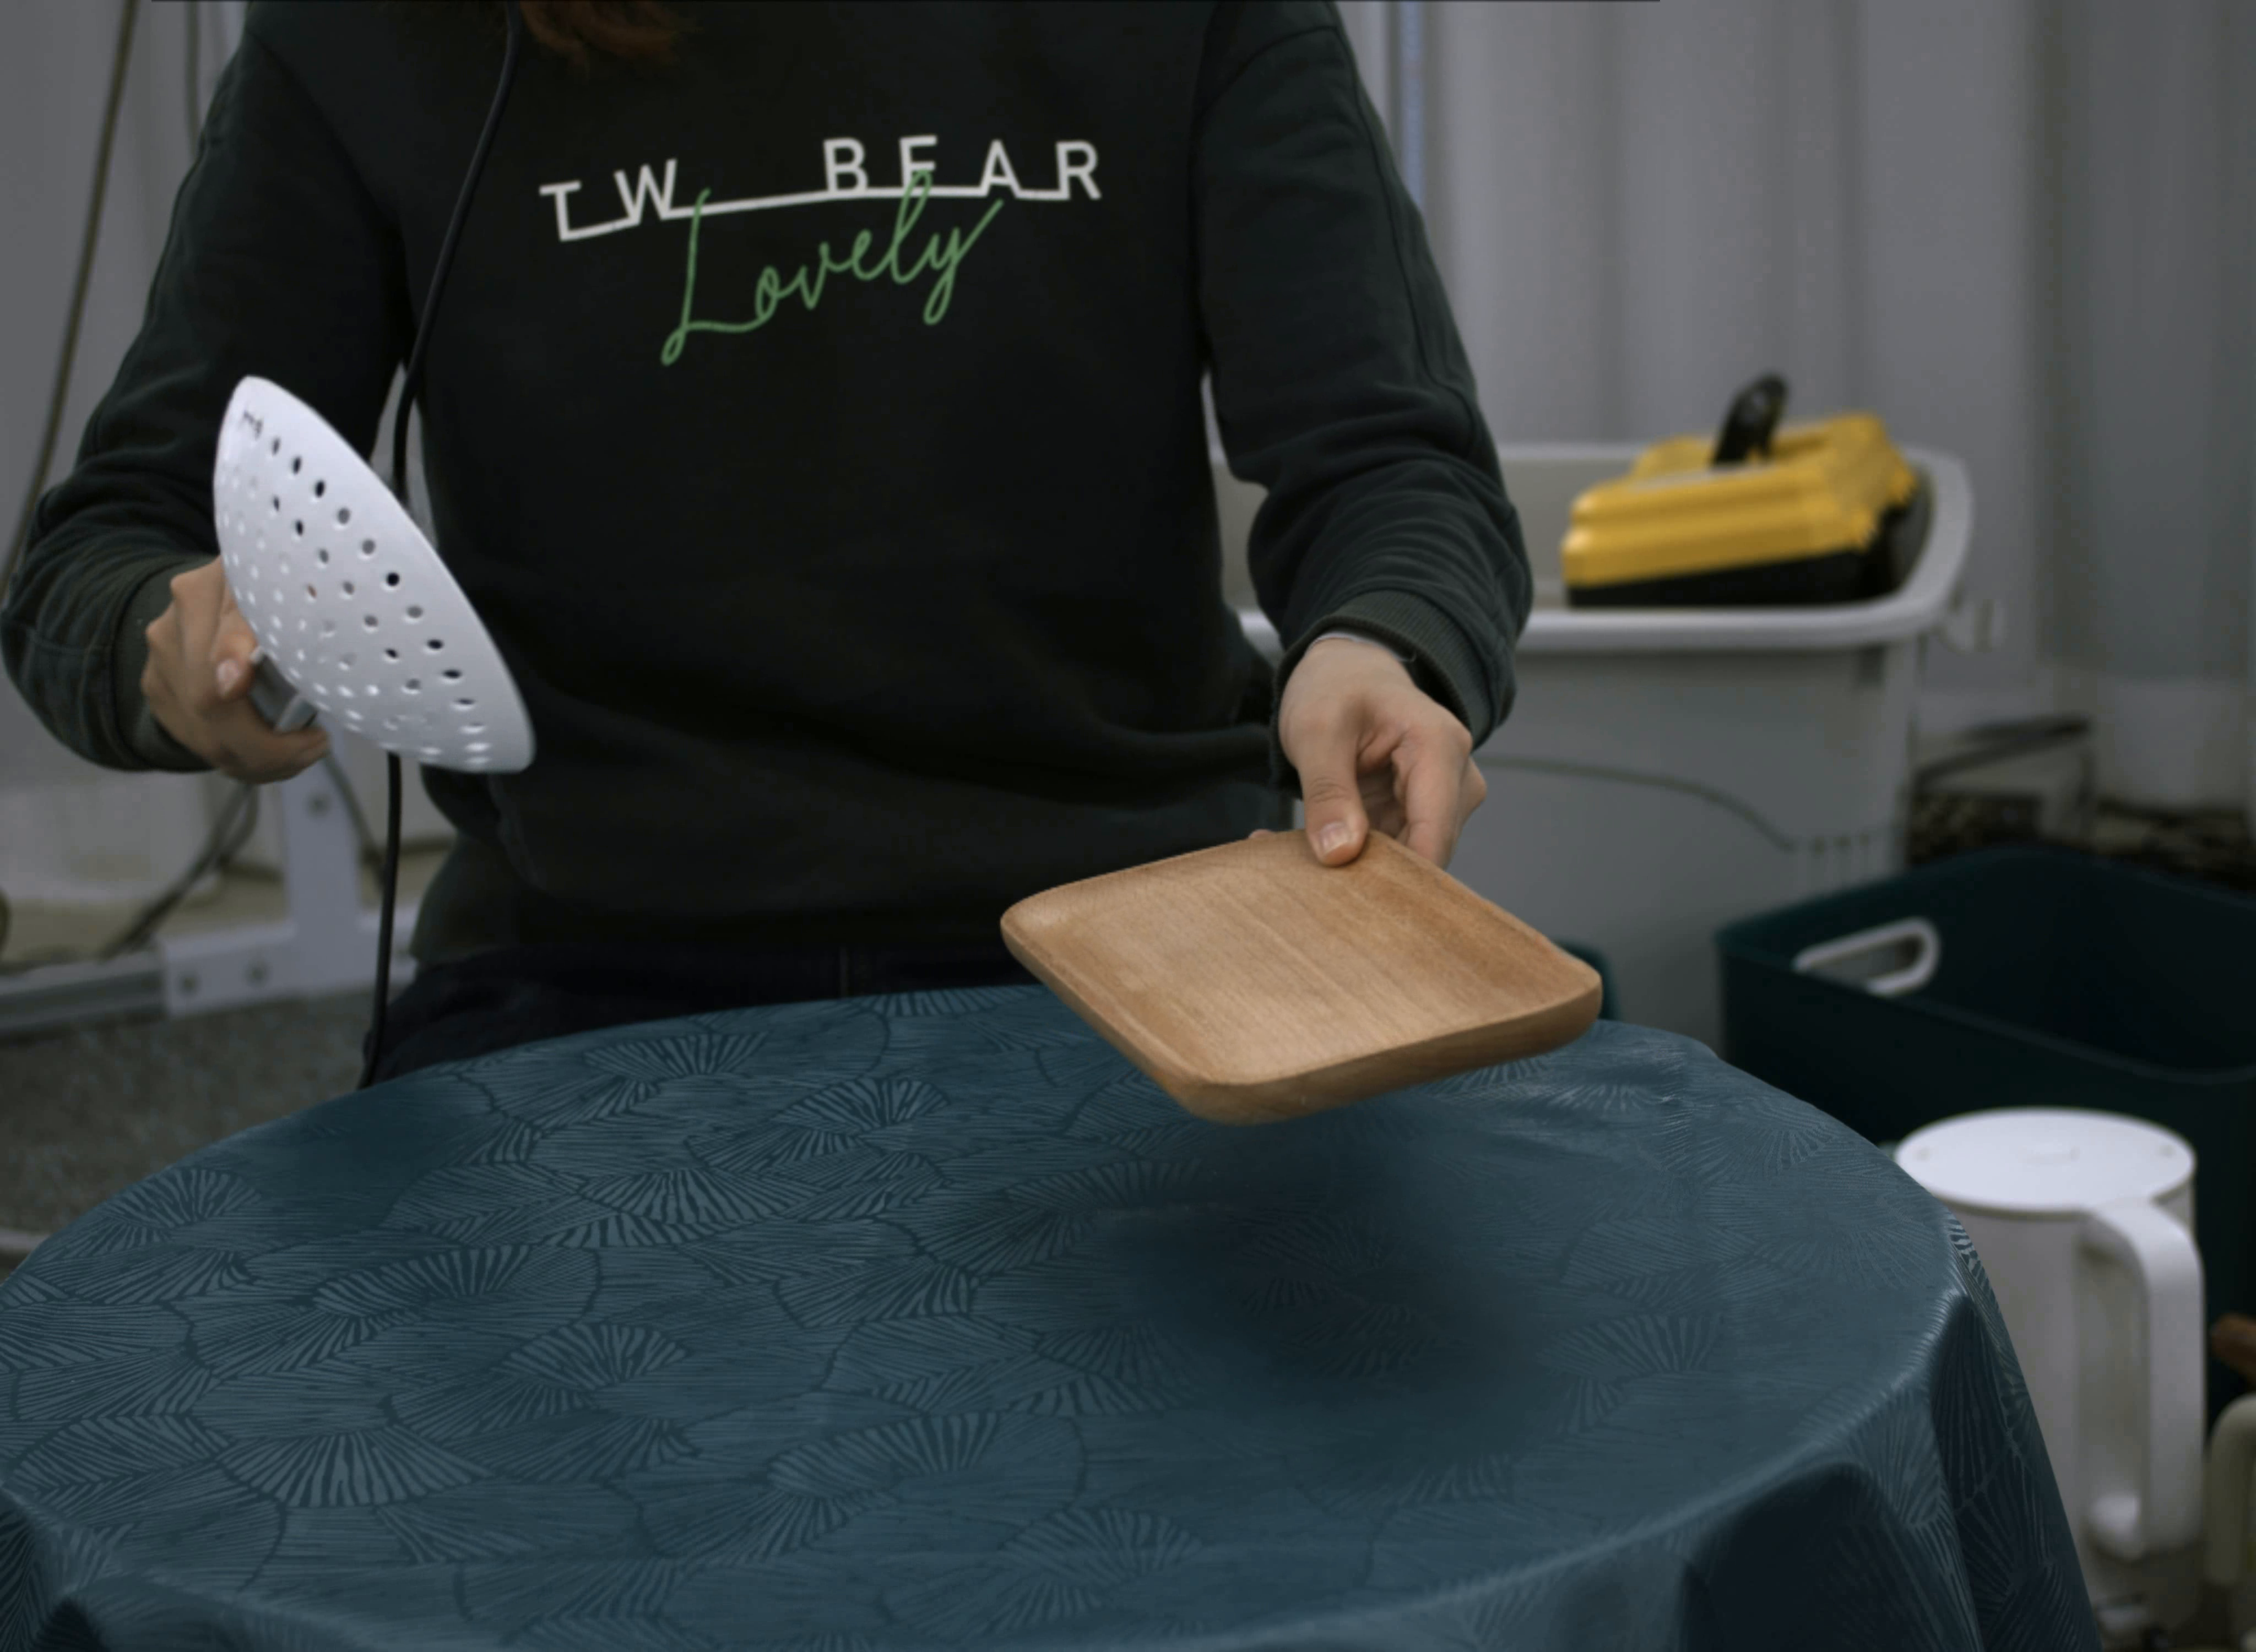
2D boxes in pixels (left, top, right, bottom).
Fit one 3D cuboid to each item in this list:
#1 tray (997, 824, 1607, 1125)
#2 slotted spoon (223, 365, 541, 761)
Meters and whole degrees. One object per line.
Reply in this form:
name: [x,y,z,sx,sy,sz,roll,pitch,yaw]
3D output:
tray: [0.047,0.042,1.617,0.130,0.023,0.252,-11,13,-13]
slotted spoon: [-0.244,-0.057,1.661,0.046,0.136,0.349,-37,3,-12]
